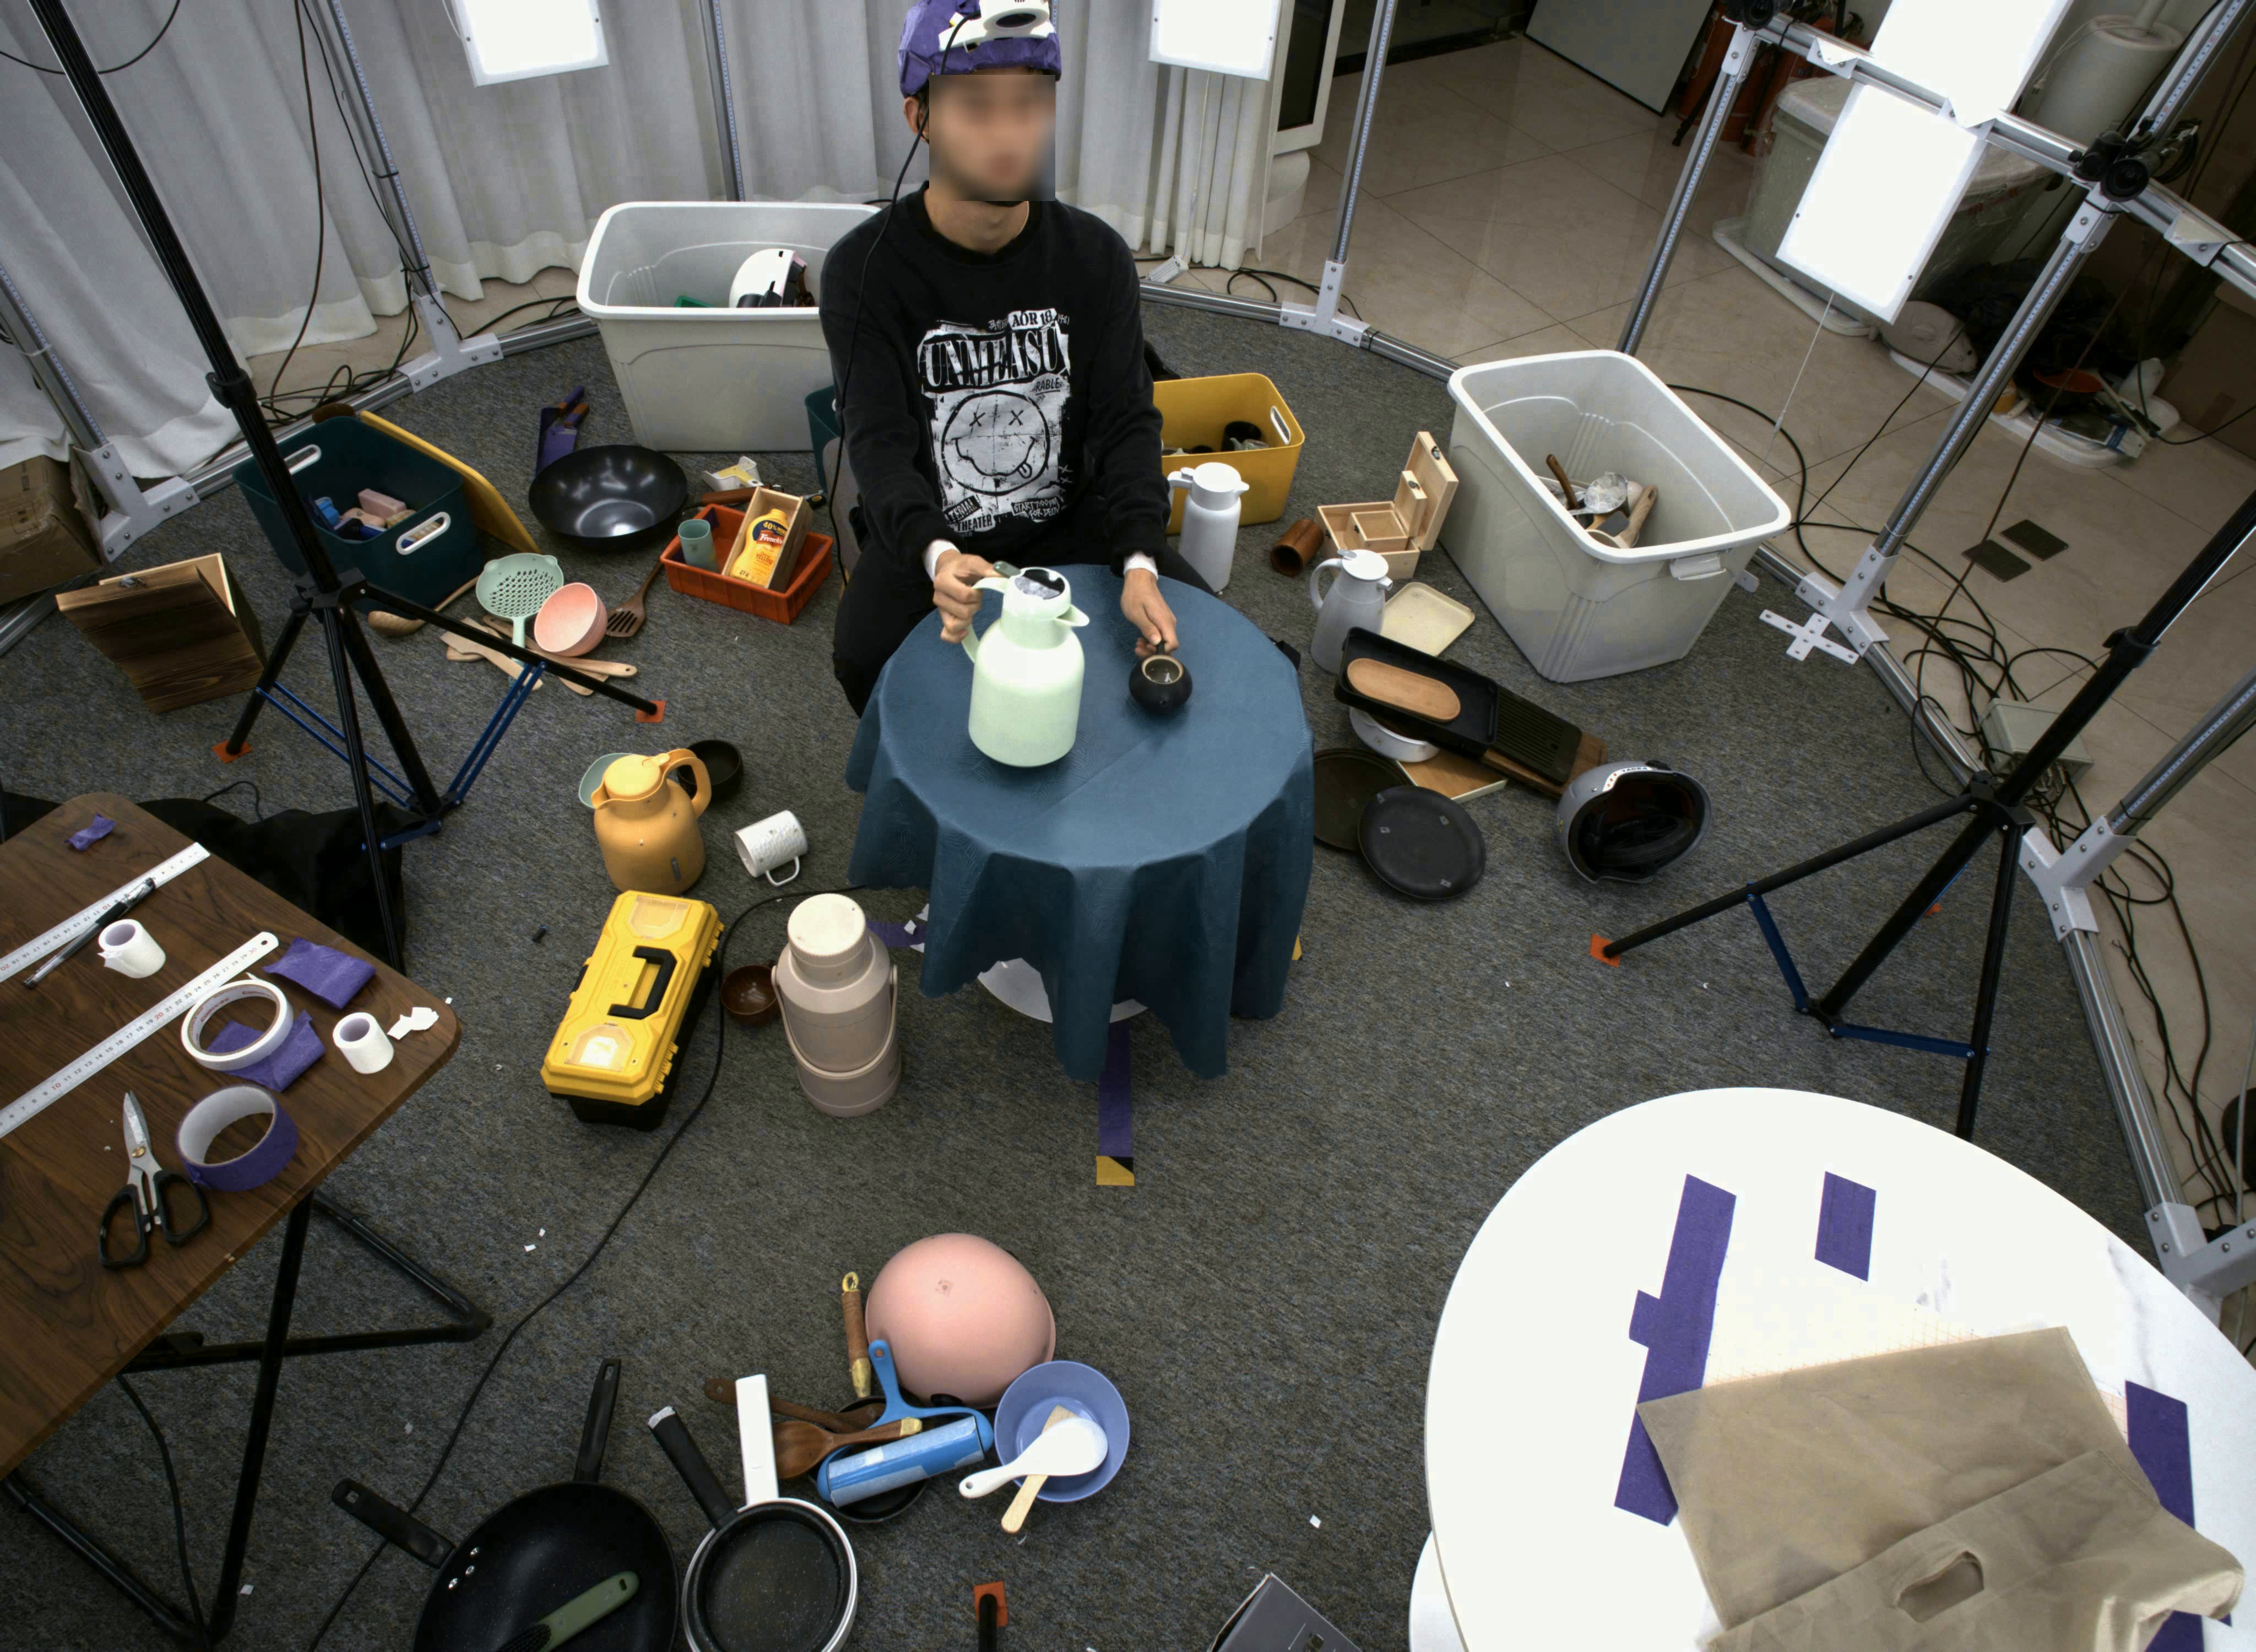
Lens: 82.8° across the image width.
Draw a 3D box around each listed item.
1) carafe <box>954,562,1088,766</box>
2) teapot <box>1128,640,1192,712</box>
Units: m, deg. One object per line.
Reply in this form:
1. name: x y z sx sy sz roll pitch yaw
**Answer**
1. carafe: -0.139 -0.215 1.657 0.188 0.250 0.146 24 46 19
2. teapot: 0.045 -0.204 1.806 0.091 0.052 0.136 3 51 -4
